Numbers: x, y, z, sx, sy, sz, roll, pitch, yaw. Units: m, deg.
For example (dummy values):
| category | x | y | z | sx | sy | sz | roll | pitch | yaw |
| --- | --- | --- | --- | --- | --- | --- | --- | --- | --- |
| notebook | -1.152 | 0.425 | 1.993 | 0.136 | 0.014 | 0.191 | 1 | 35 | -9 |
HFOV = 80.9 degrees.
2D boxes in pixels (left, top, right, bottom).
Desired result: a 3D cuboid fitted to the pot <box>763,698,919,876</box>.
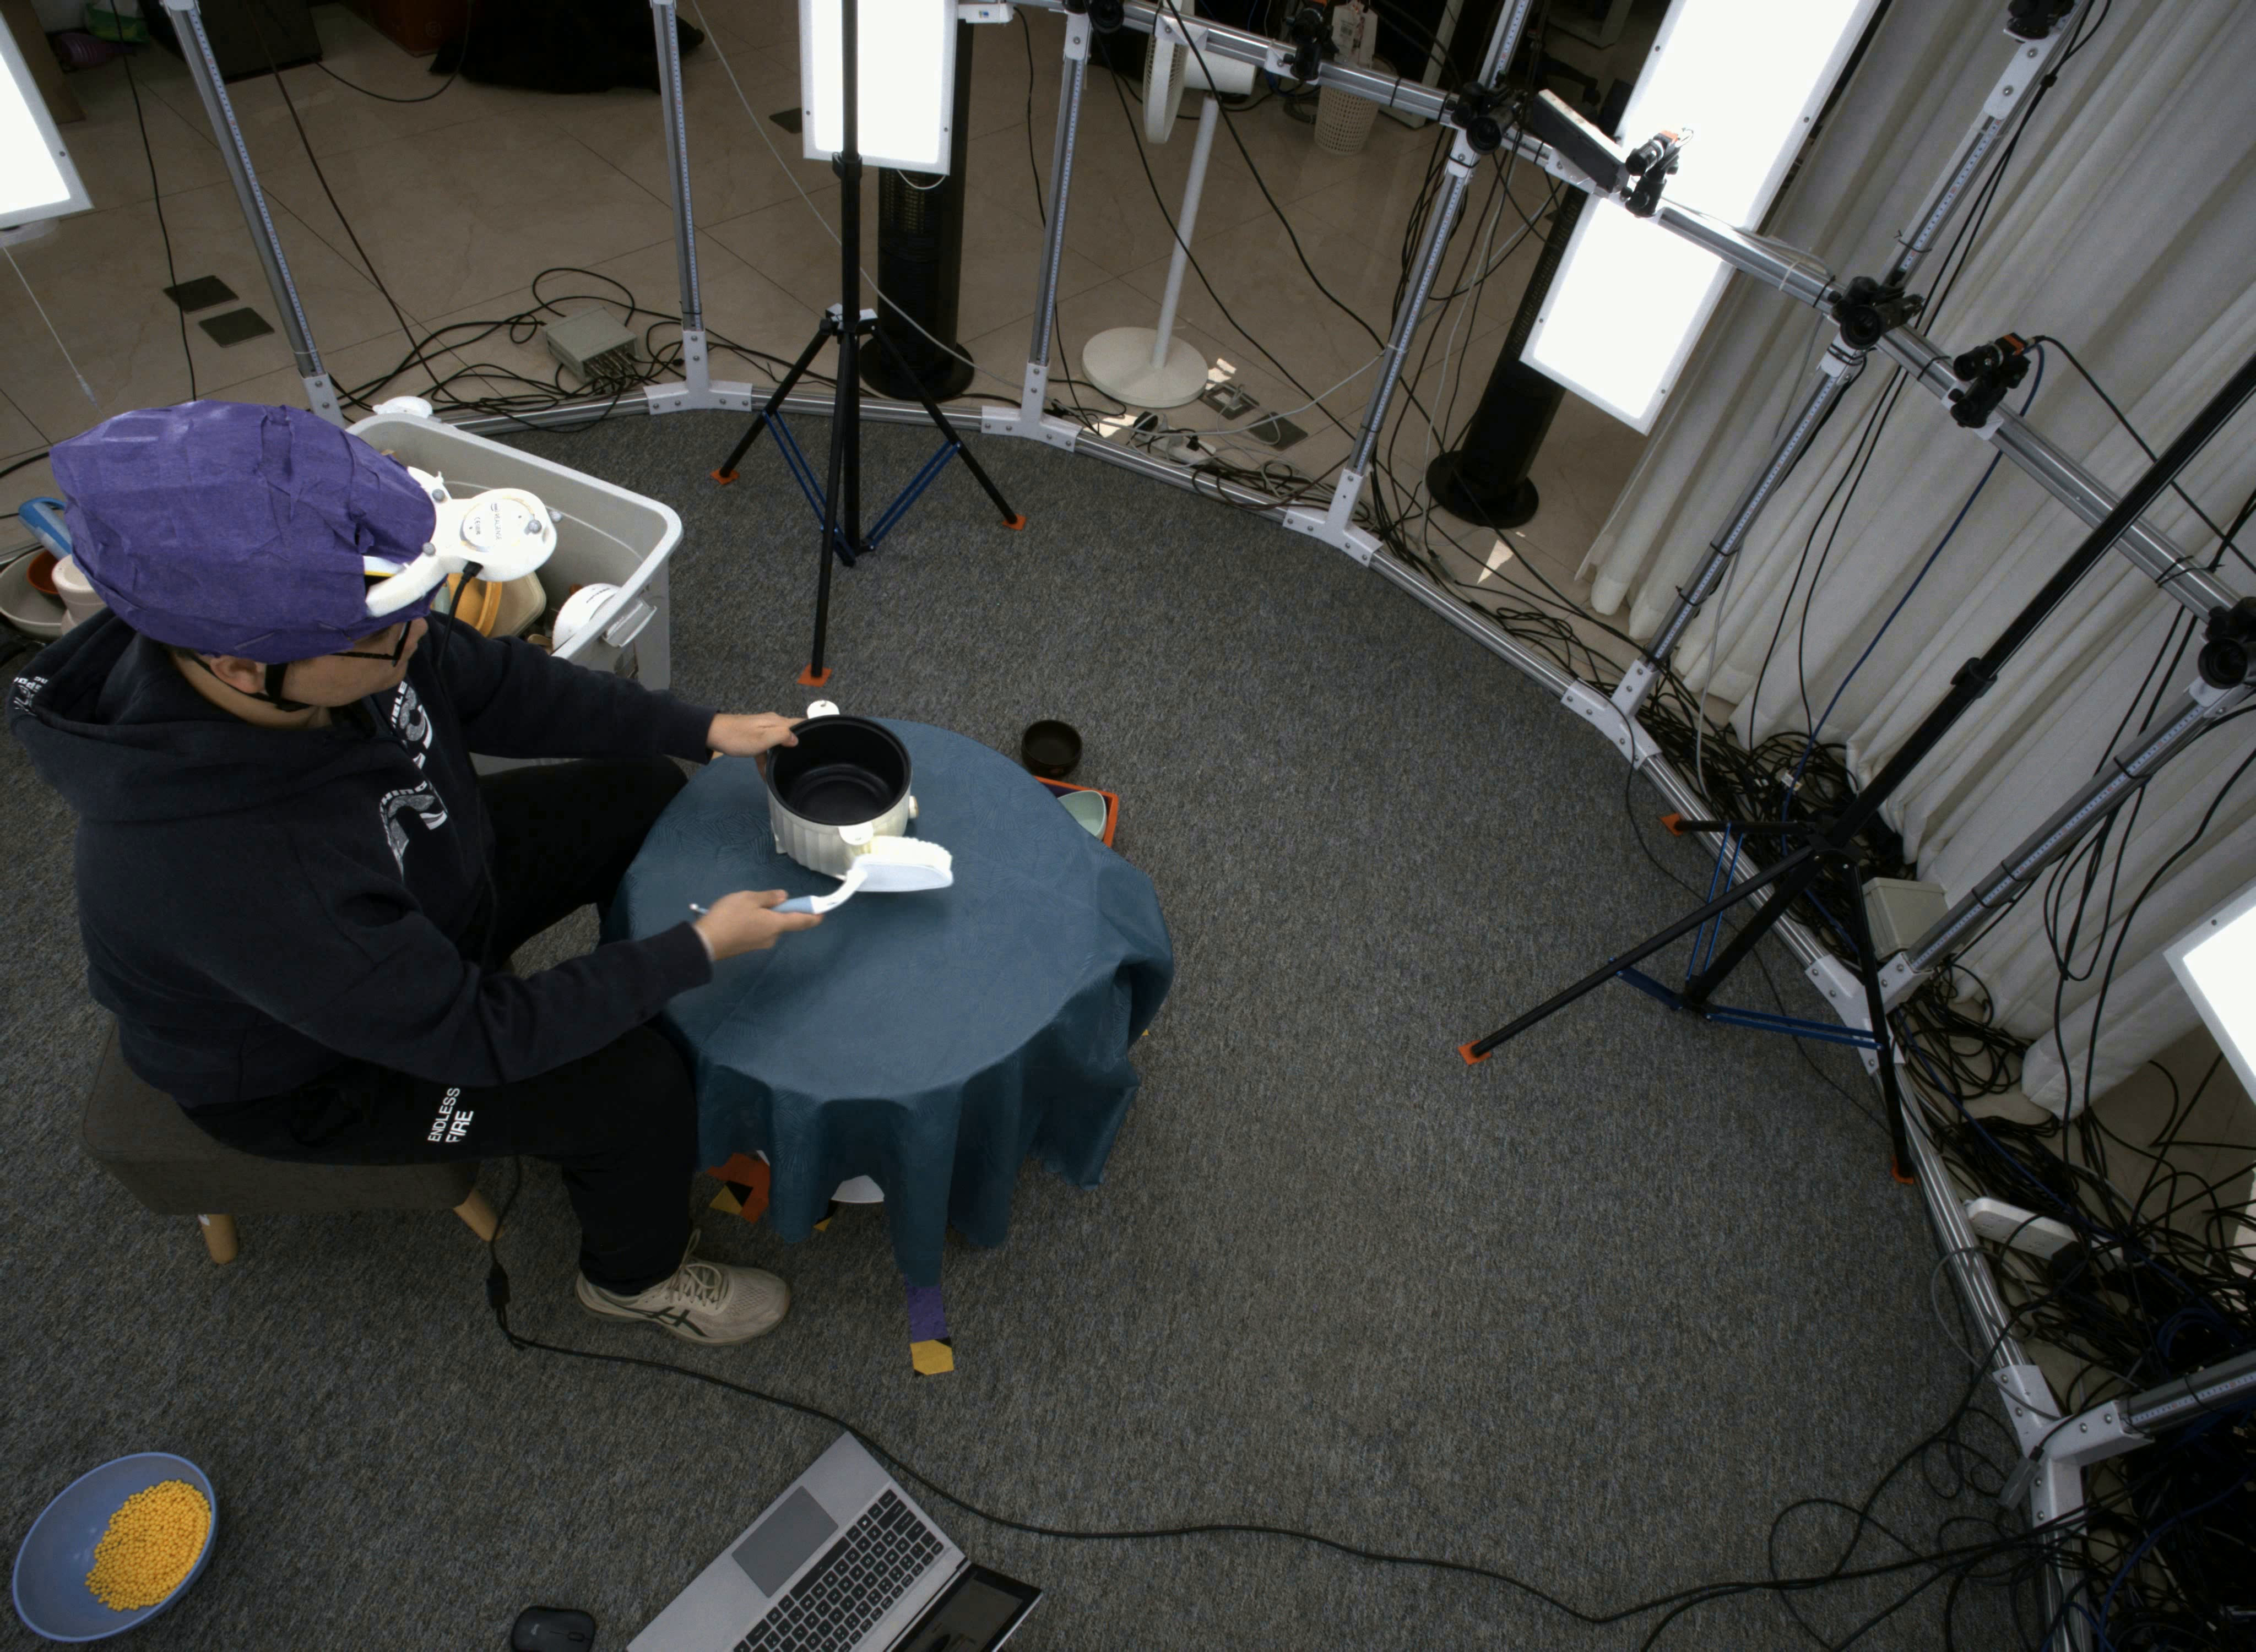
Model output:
| category | x | y | z | sx | sy | sz | roll | pitch | yaw |
| --- | --- | --- | --- | --- | --- | --- | --- | --- | --- |
| pot | -0.366 | -0.037 | 1.672 | 0.191 | 0.146 | 0.234 | -13 | 58 | -18 |

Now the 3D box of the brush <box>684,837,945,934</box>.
| category | x | y | z | sx | sy | sz | roll | pitch | yaw |
| --- | --- | --- | --- | --- | --- | --- | --- | --- | --- |
| brush | -0.379 | 0.059 | 1.576 | 0.329 | 0.085 | 0.081 | -8 | 18 | -29 |
